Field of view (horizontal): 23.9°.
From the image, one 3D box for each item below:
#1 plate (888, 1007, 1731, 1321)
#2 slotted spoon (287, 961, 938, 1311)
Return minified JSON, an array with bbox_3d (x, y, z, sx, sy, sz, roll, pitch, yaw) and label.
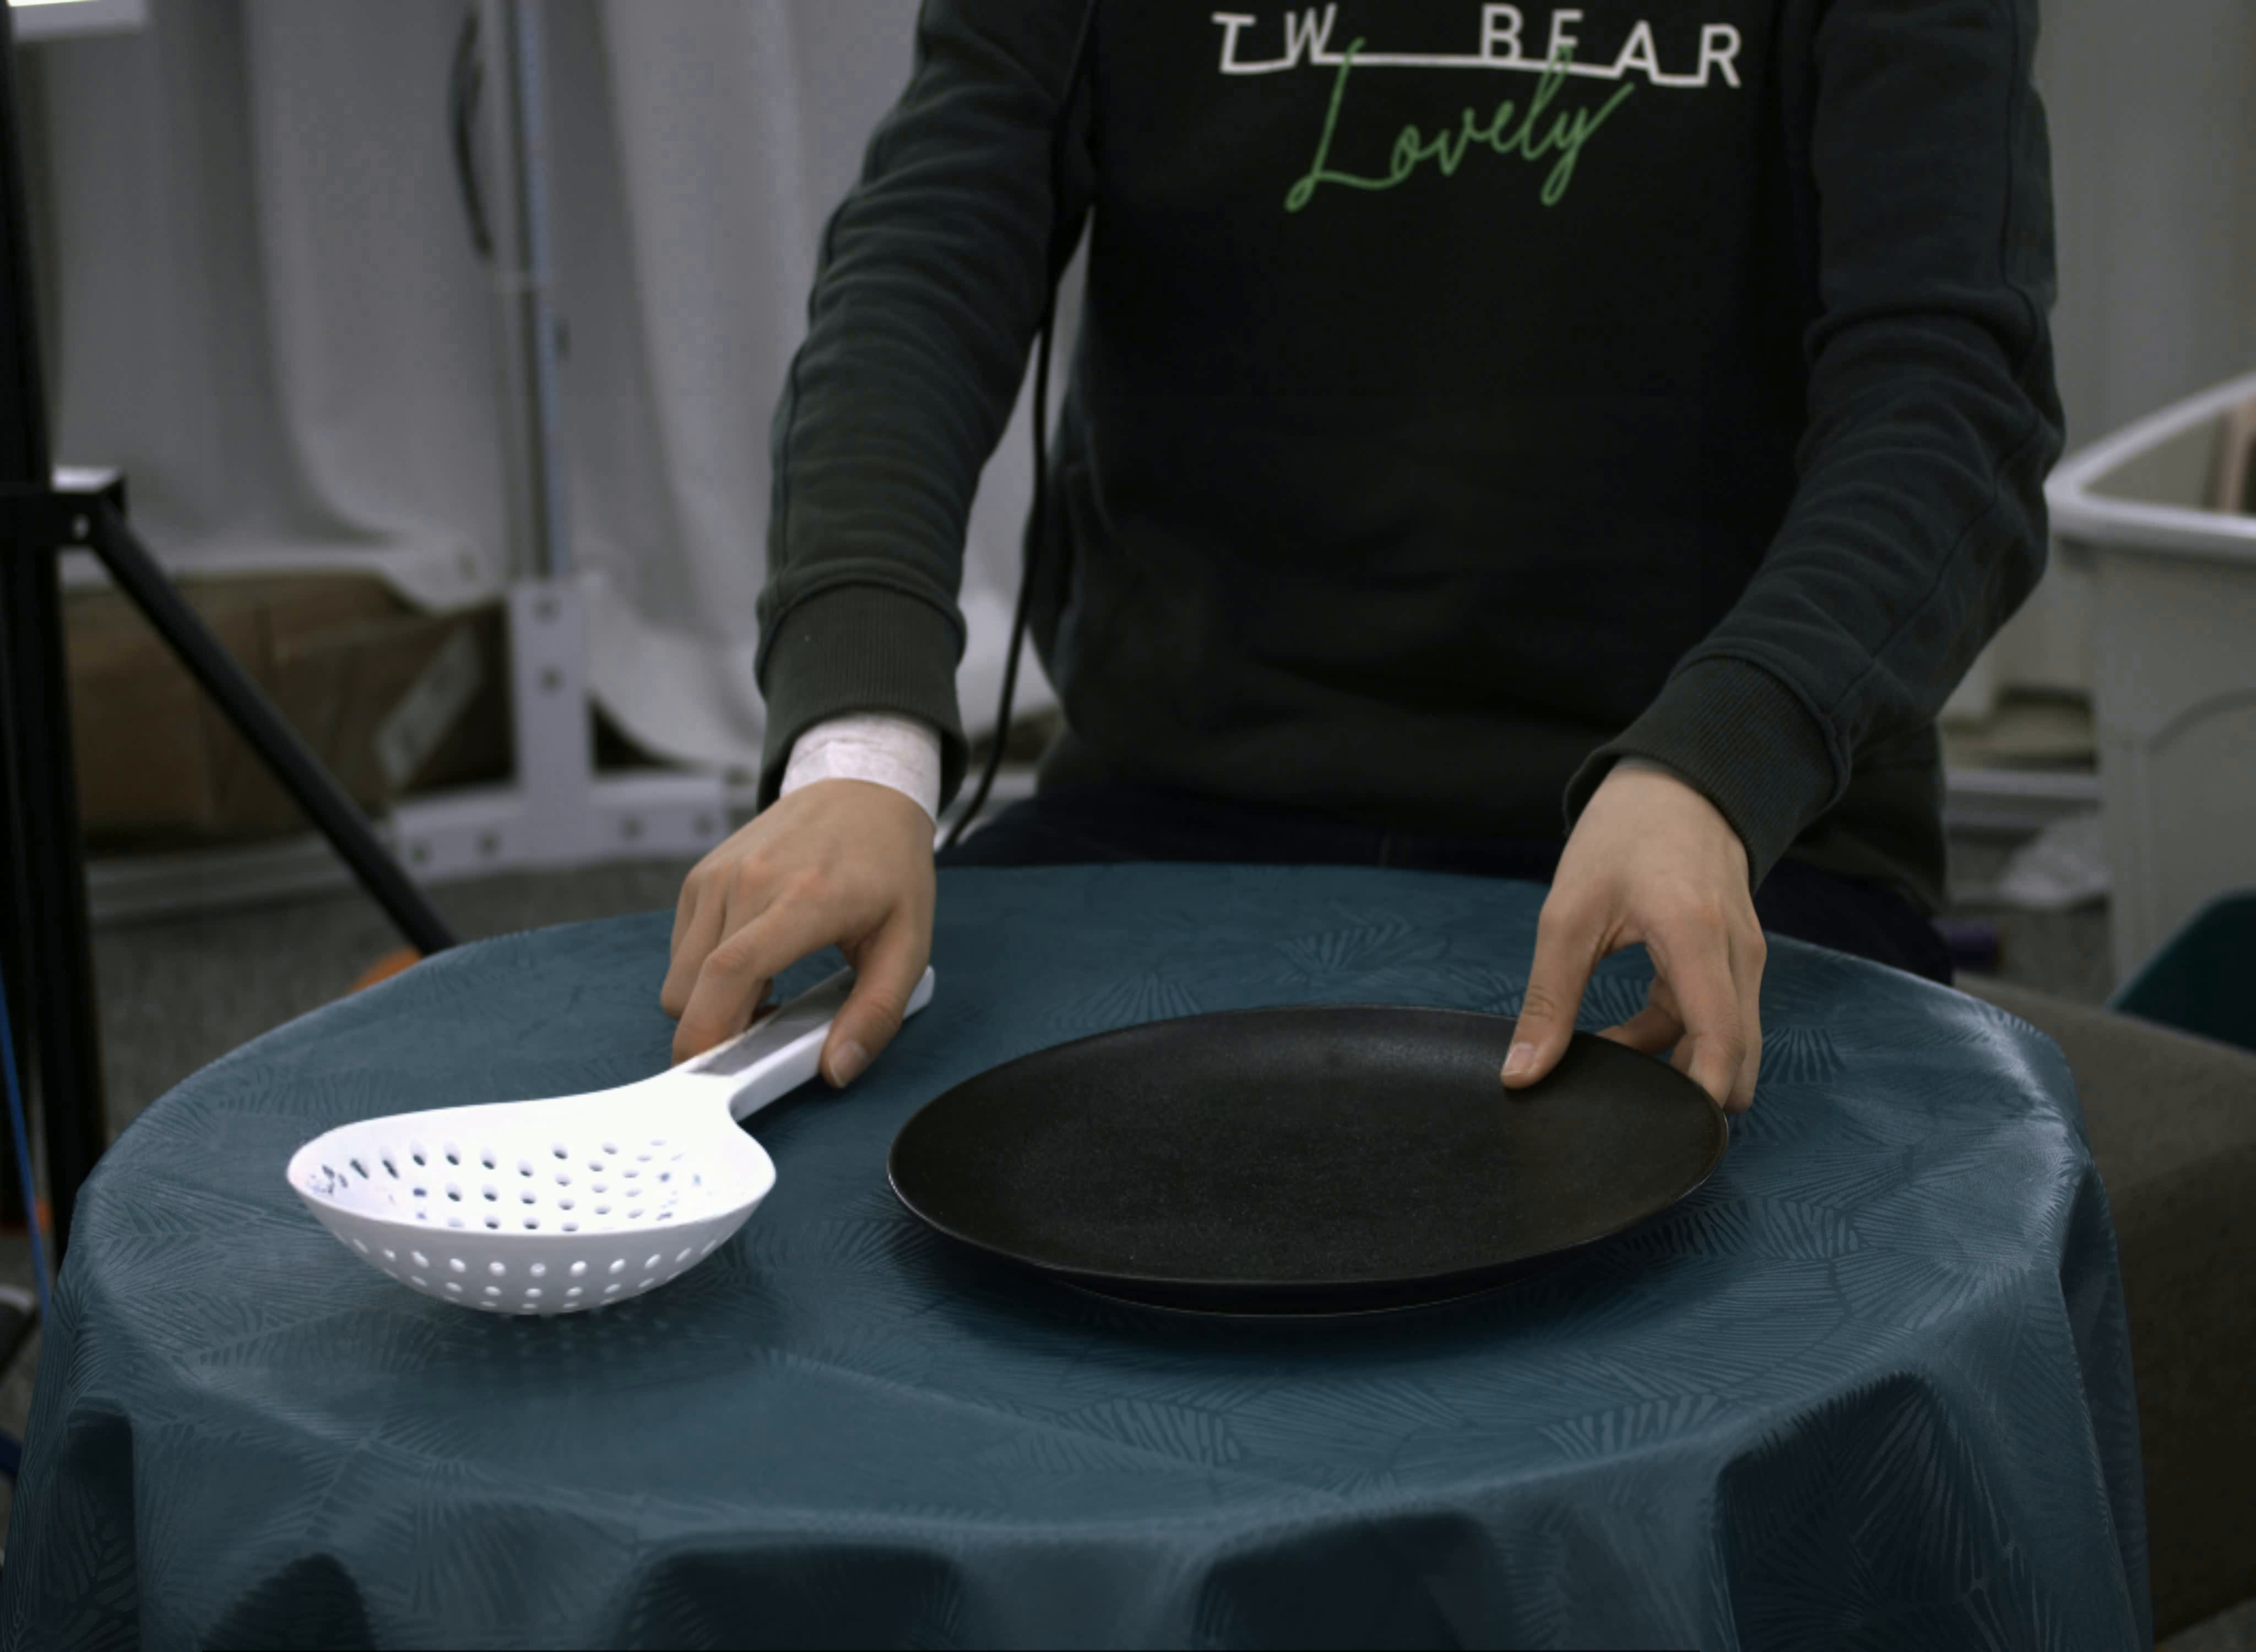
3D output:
[{"bbox_3d":[0.053,0.100,1.533,0.243,0.023,0.245,-3,16,0],"label":"plate"},{"bbox_3d":[-0.131,0.083,1.586,0.137,0.046,0.345,7,17,18],"label":"slotted spoon"}]
